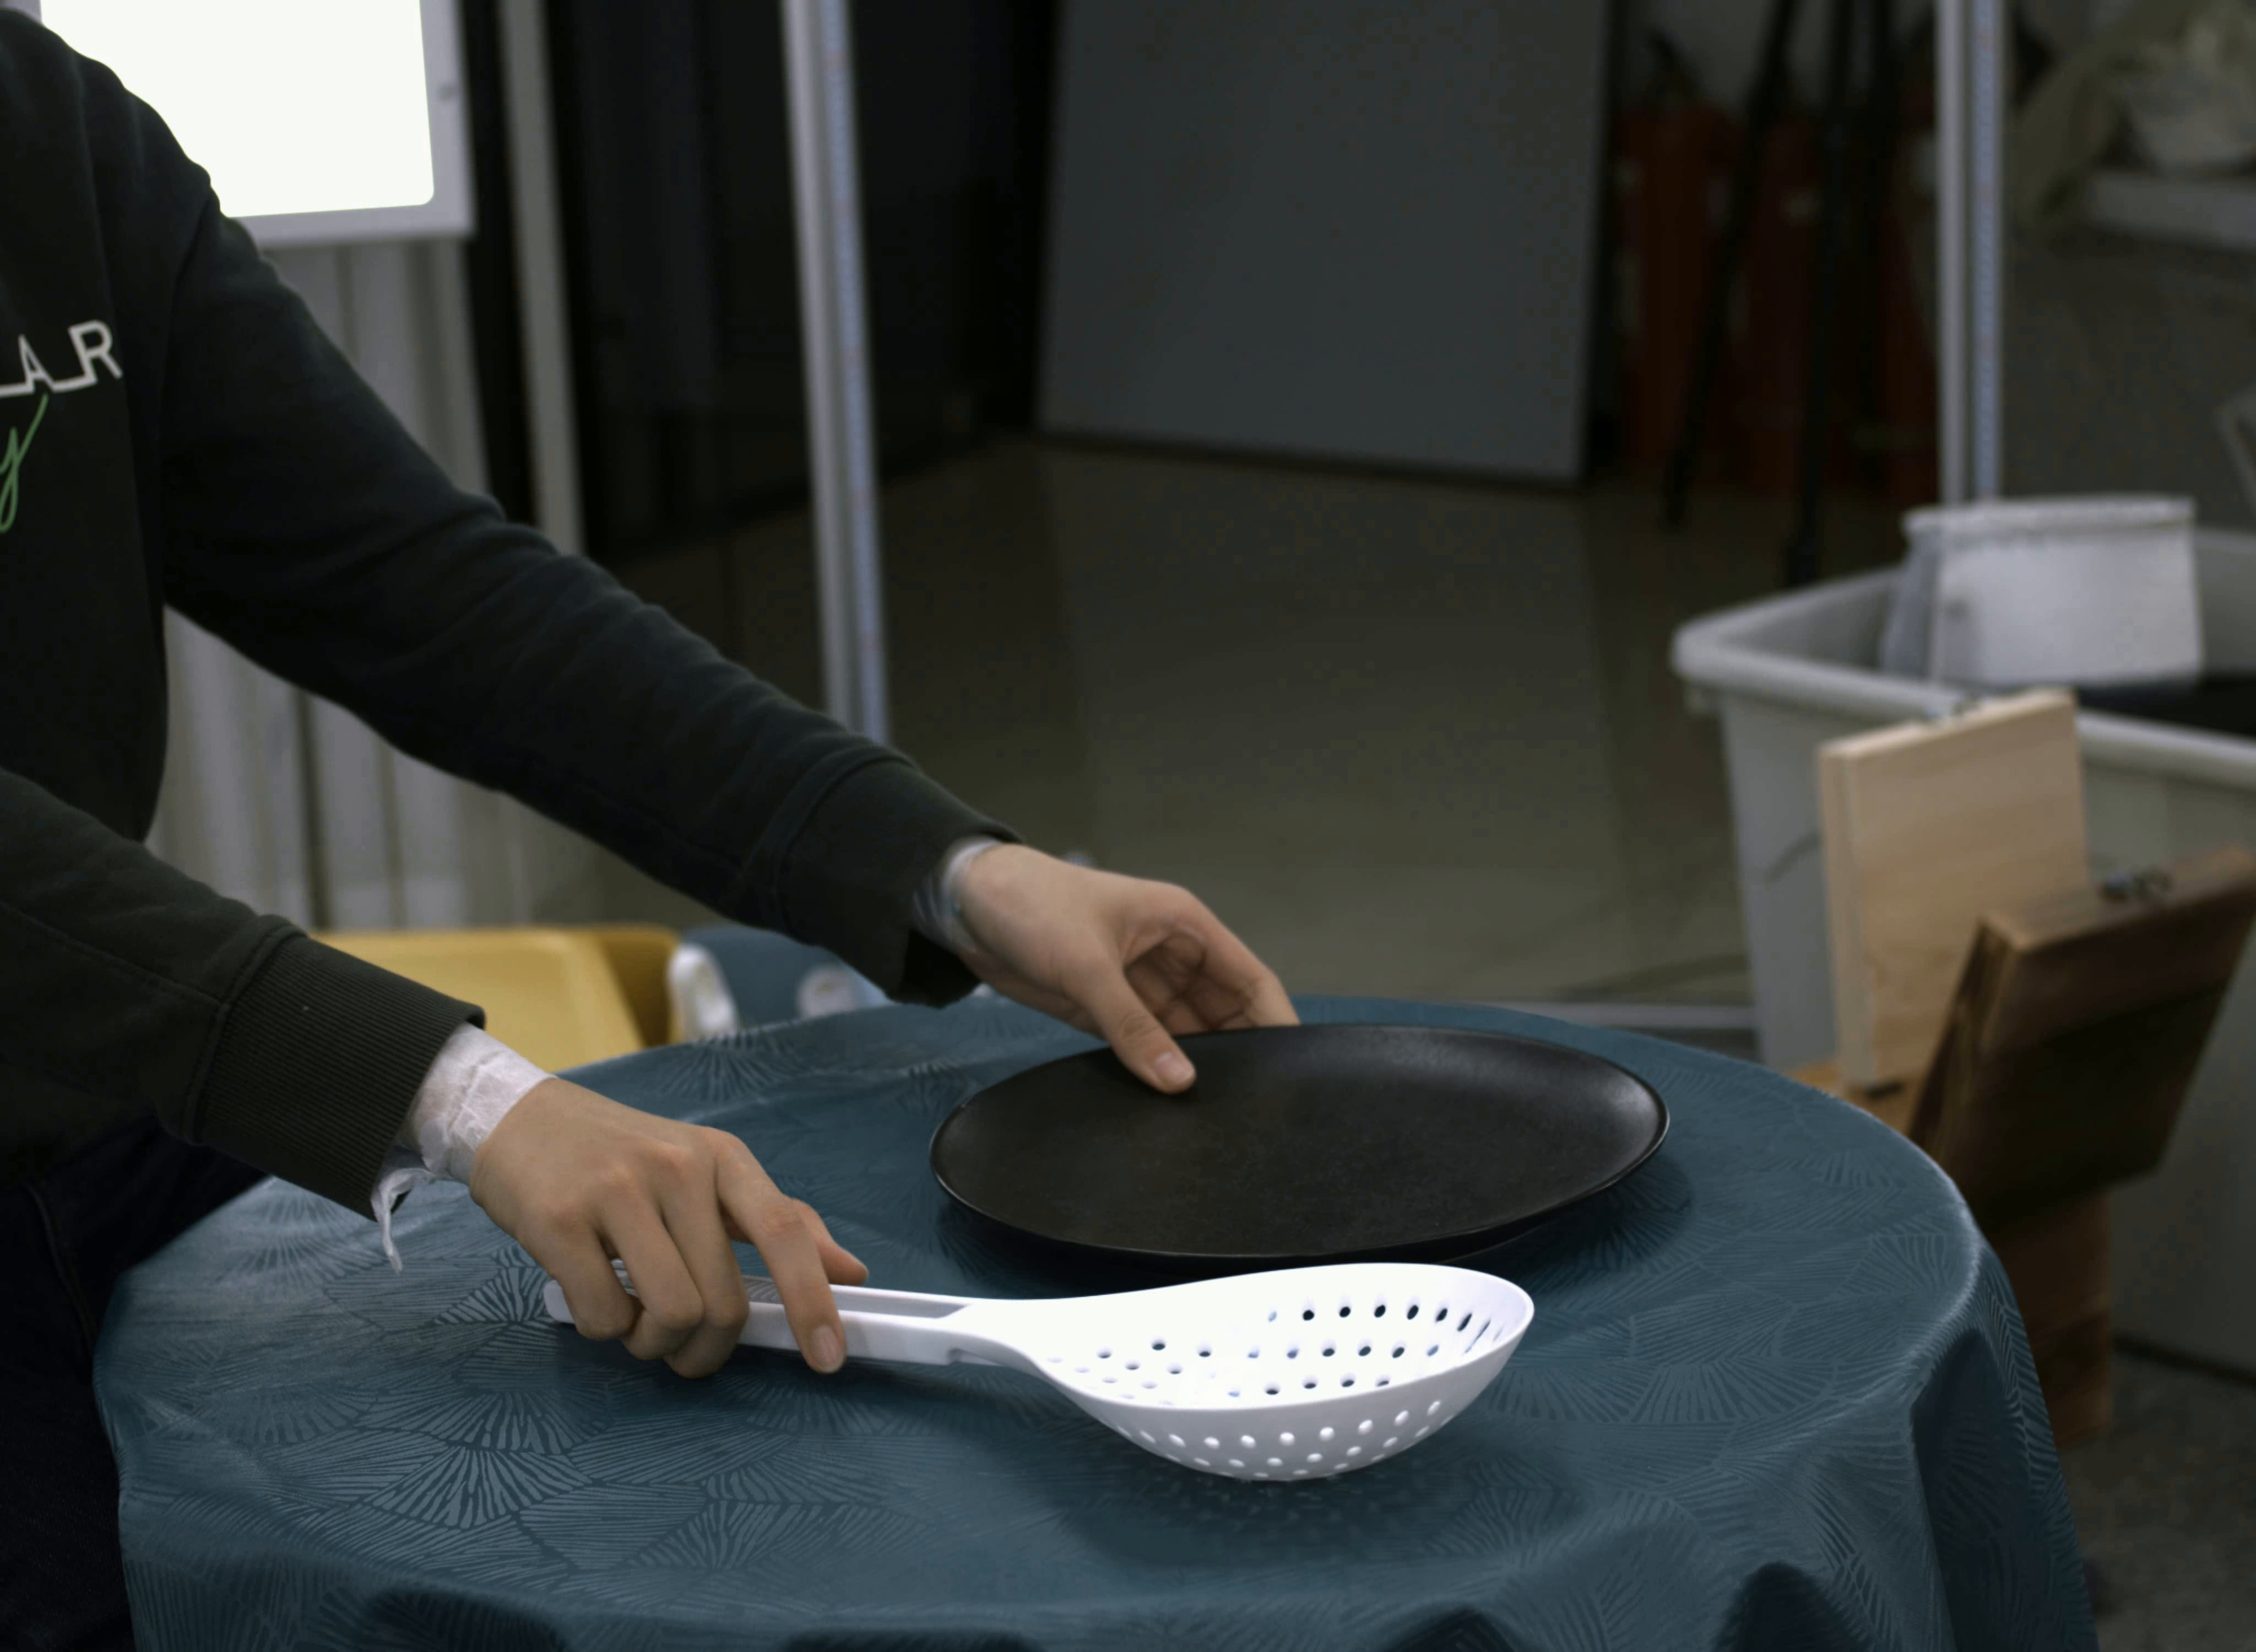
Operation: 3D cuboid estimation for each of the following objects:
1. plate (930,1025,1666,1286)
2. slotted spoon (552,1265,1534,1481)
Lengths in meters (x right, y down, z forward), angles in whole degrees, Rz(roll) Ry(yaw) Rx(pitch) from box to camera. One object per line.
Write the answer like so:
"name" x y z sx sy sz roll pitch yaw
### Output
"plate" 0.056 0.109 1.754 0.241 0.024 0.245 -4 14 0
"slotted spoon" -0.036 0.148 1.577 0.352 0.046 0.133 6 15 38
